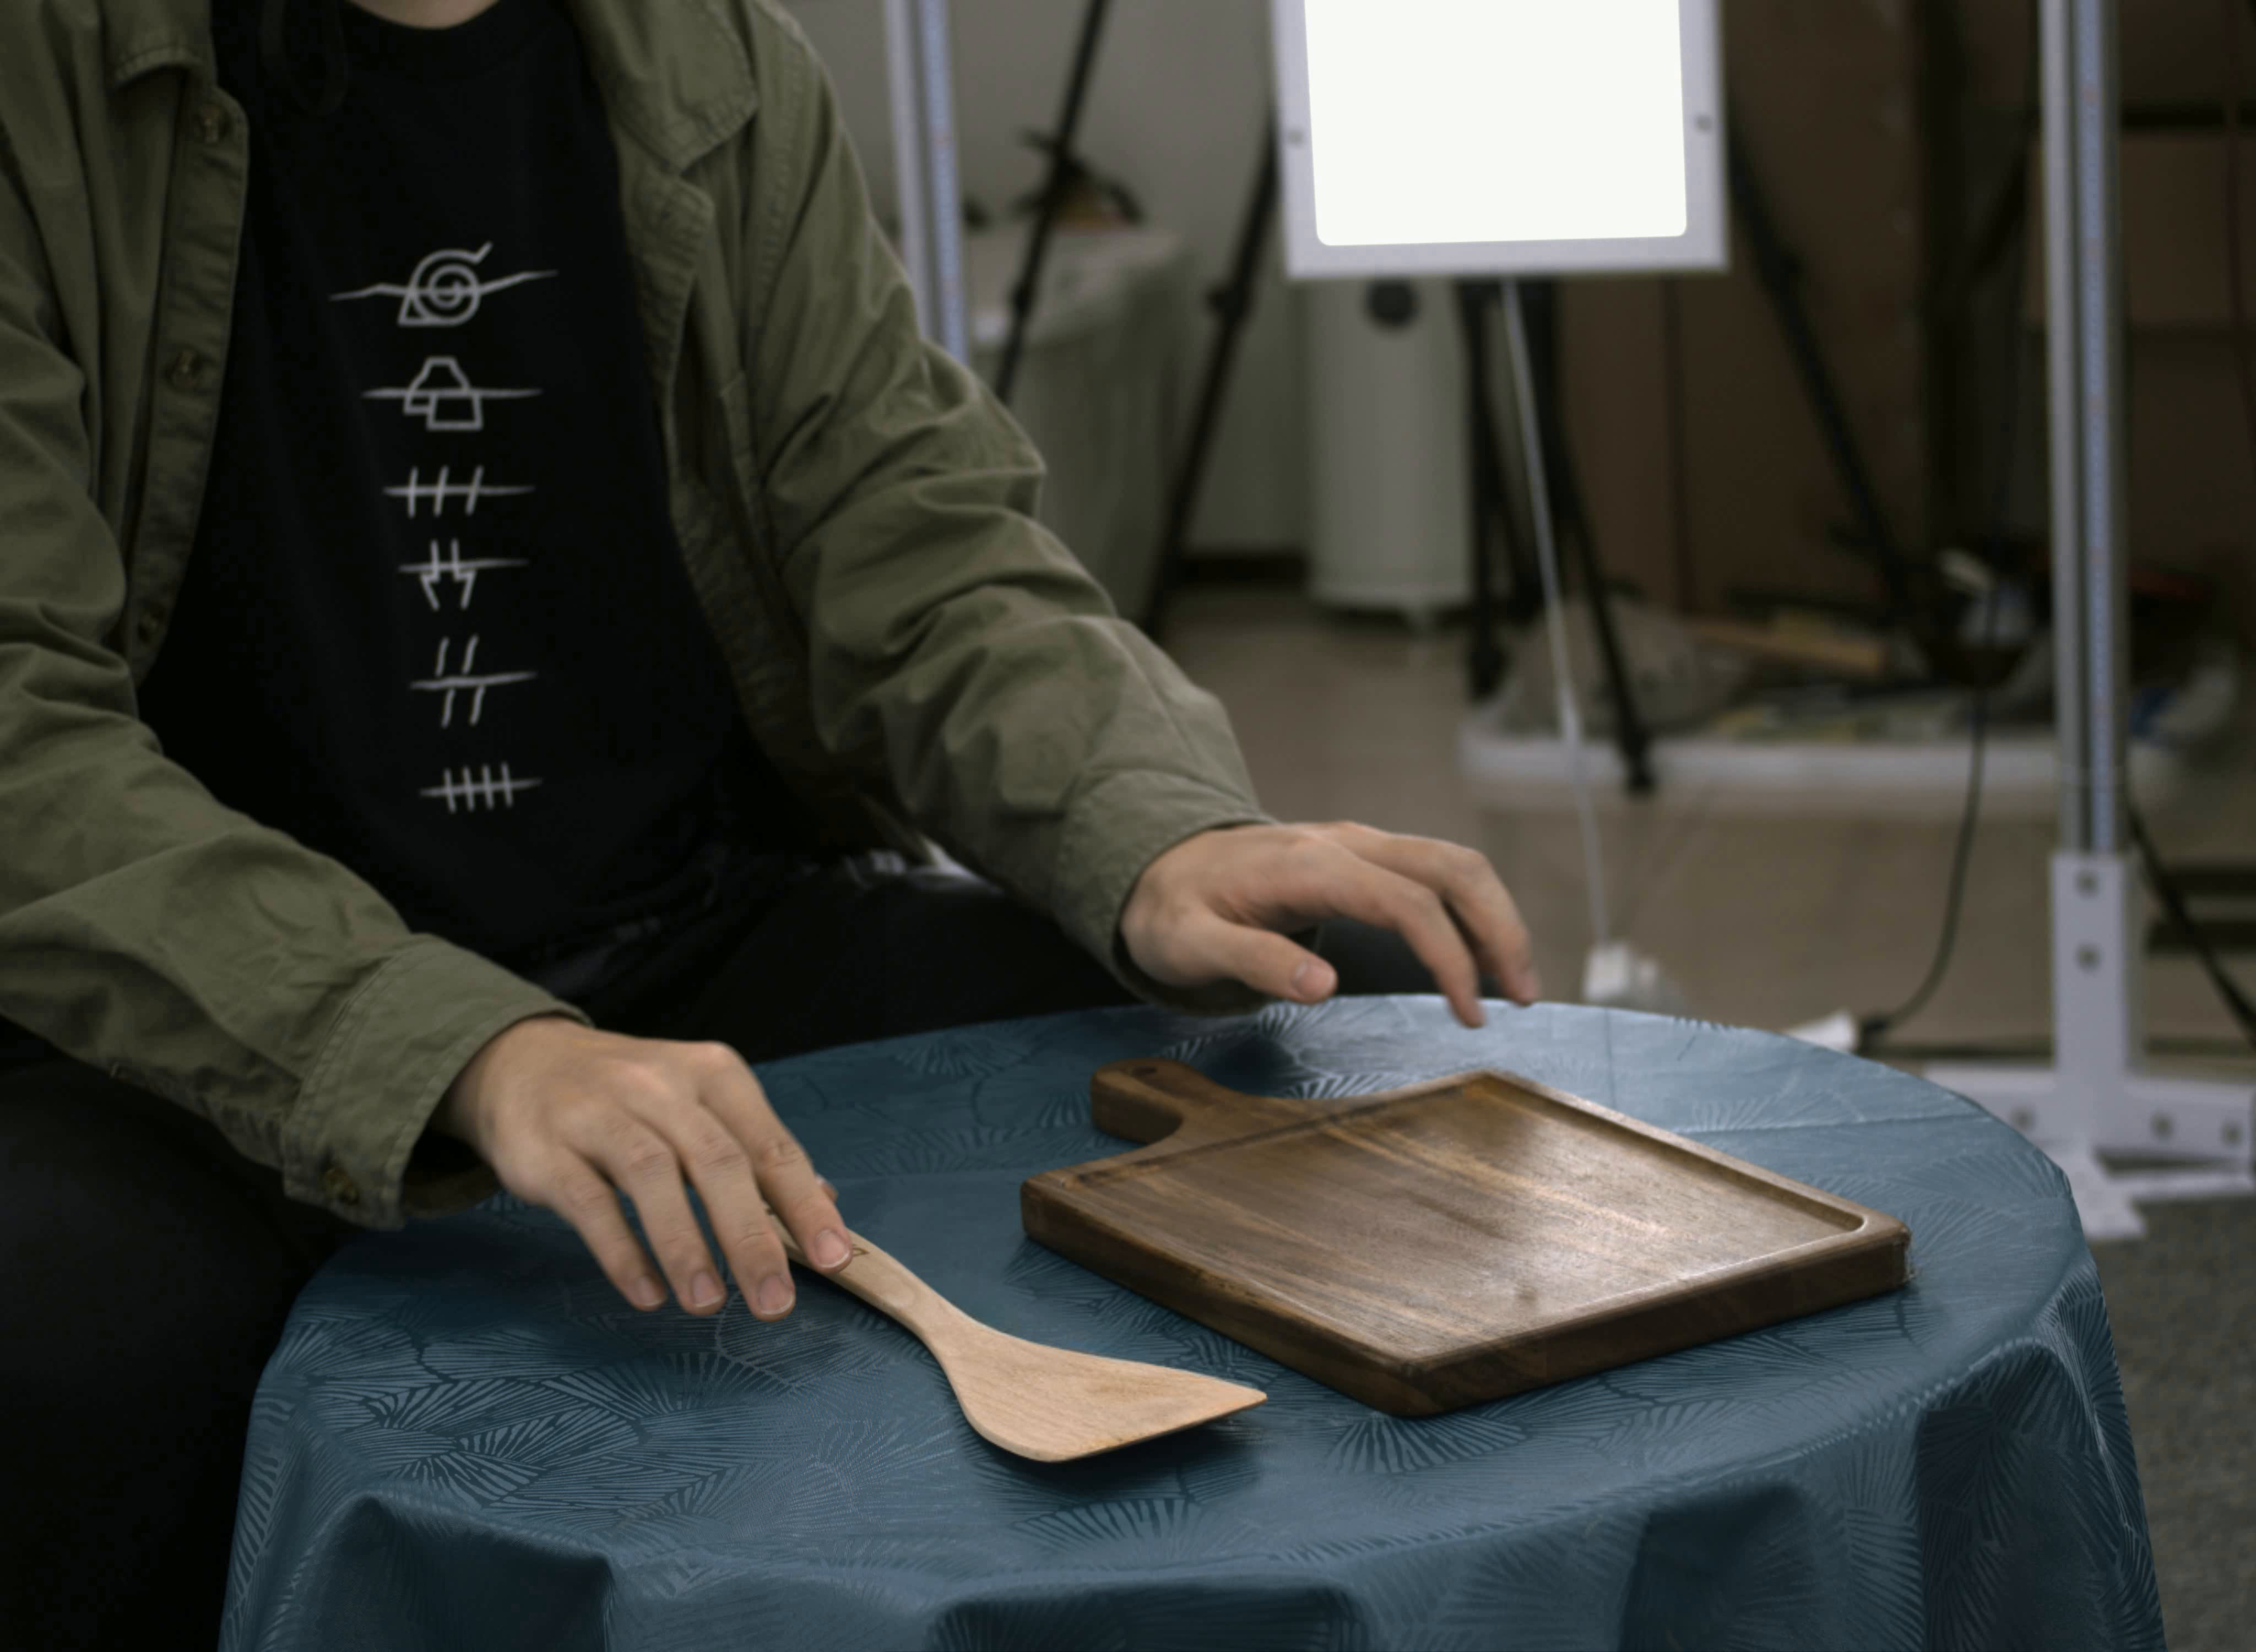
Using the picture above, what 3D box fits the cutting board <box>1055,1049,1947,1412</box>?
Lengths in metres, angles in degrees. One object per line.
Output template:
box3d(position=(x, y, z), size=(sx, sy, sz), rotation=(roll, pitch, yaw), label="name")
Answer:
box3d(position=(0.095, 0.121, 1.836), size=(0.197, 0.023, 0.358), rotation=(-12, 15, -26), label="cutting board")

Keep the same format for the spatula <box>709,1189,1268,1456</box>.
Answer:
box3d(position=(-0.060, 0.154, 1.768), size=(0.078, 0.016, 0.333), rotation=(-12, 15, -26), label="spatula")
